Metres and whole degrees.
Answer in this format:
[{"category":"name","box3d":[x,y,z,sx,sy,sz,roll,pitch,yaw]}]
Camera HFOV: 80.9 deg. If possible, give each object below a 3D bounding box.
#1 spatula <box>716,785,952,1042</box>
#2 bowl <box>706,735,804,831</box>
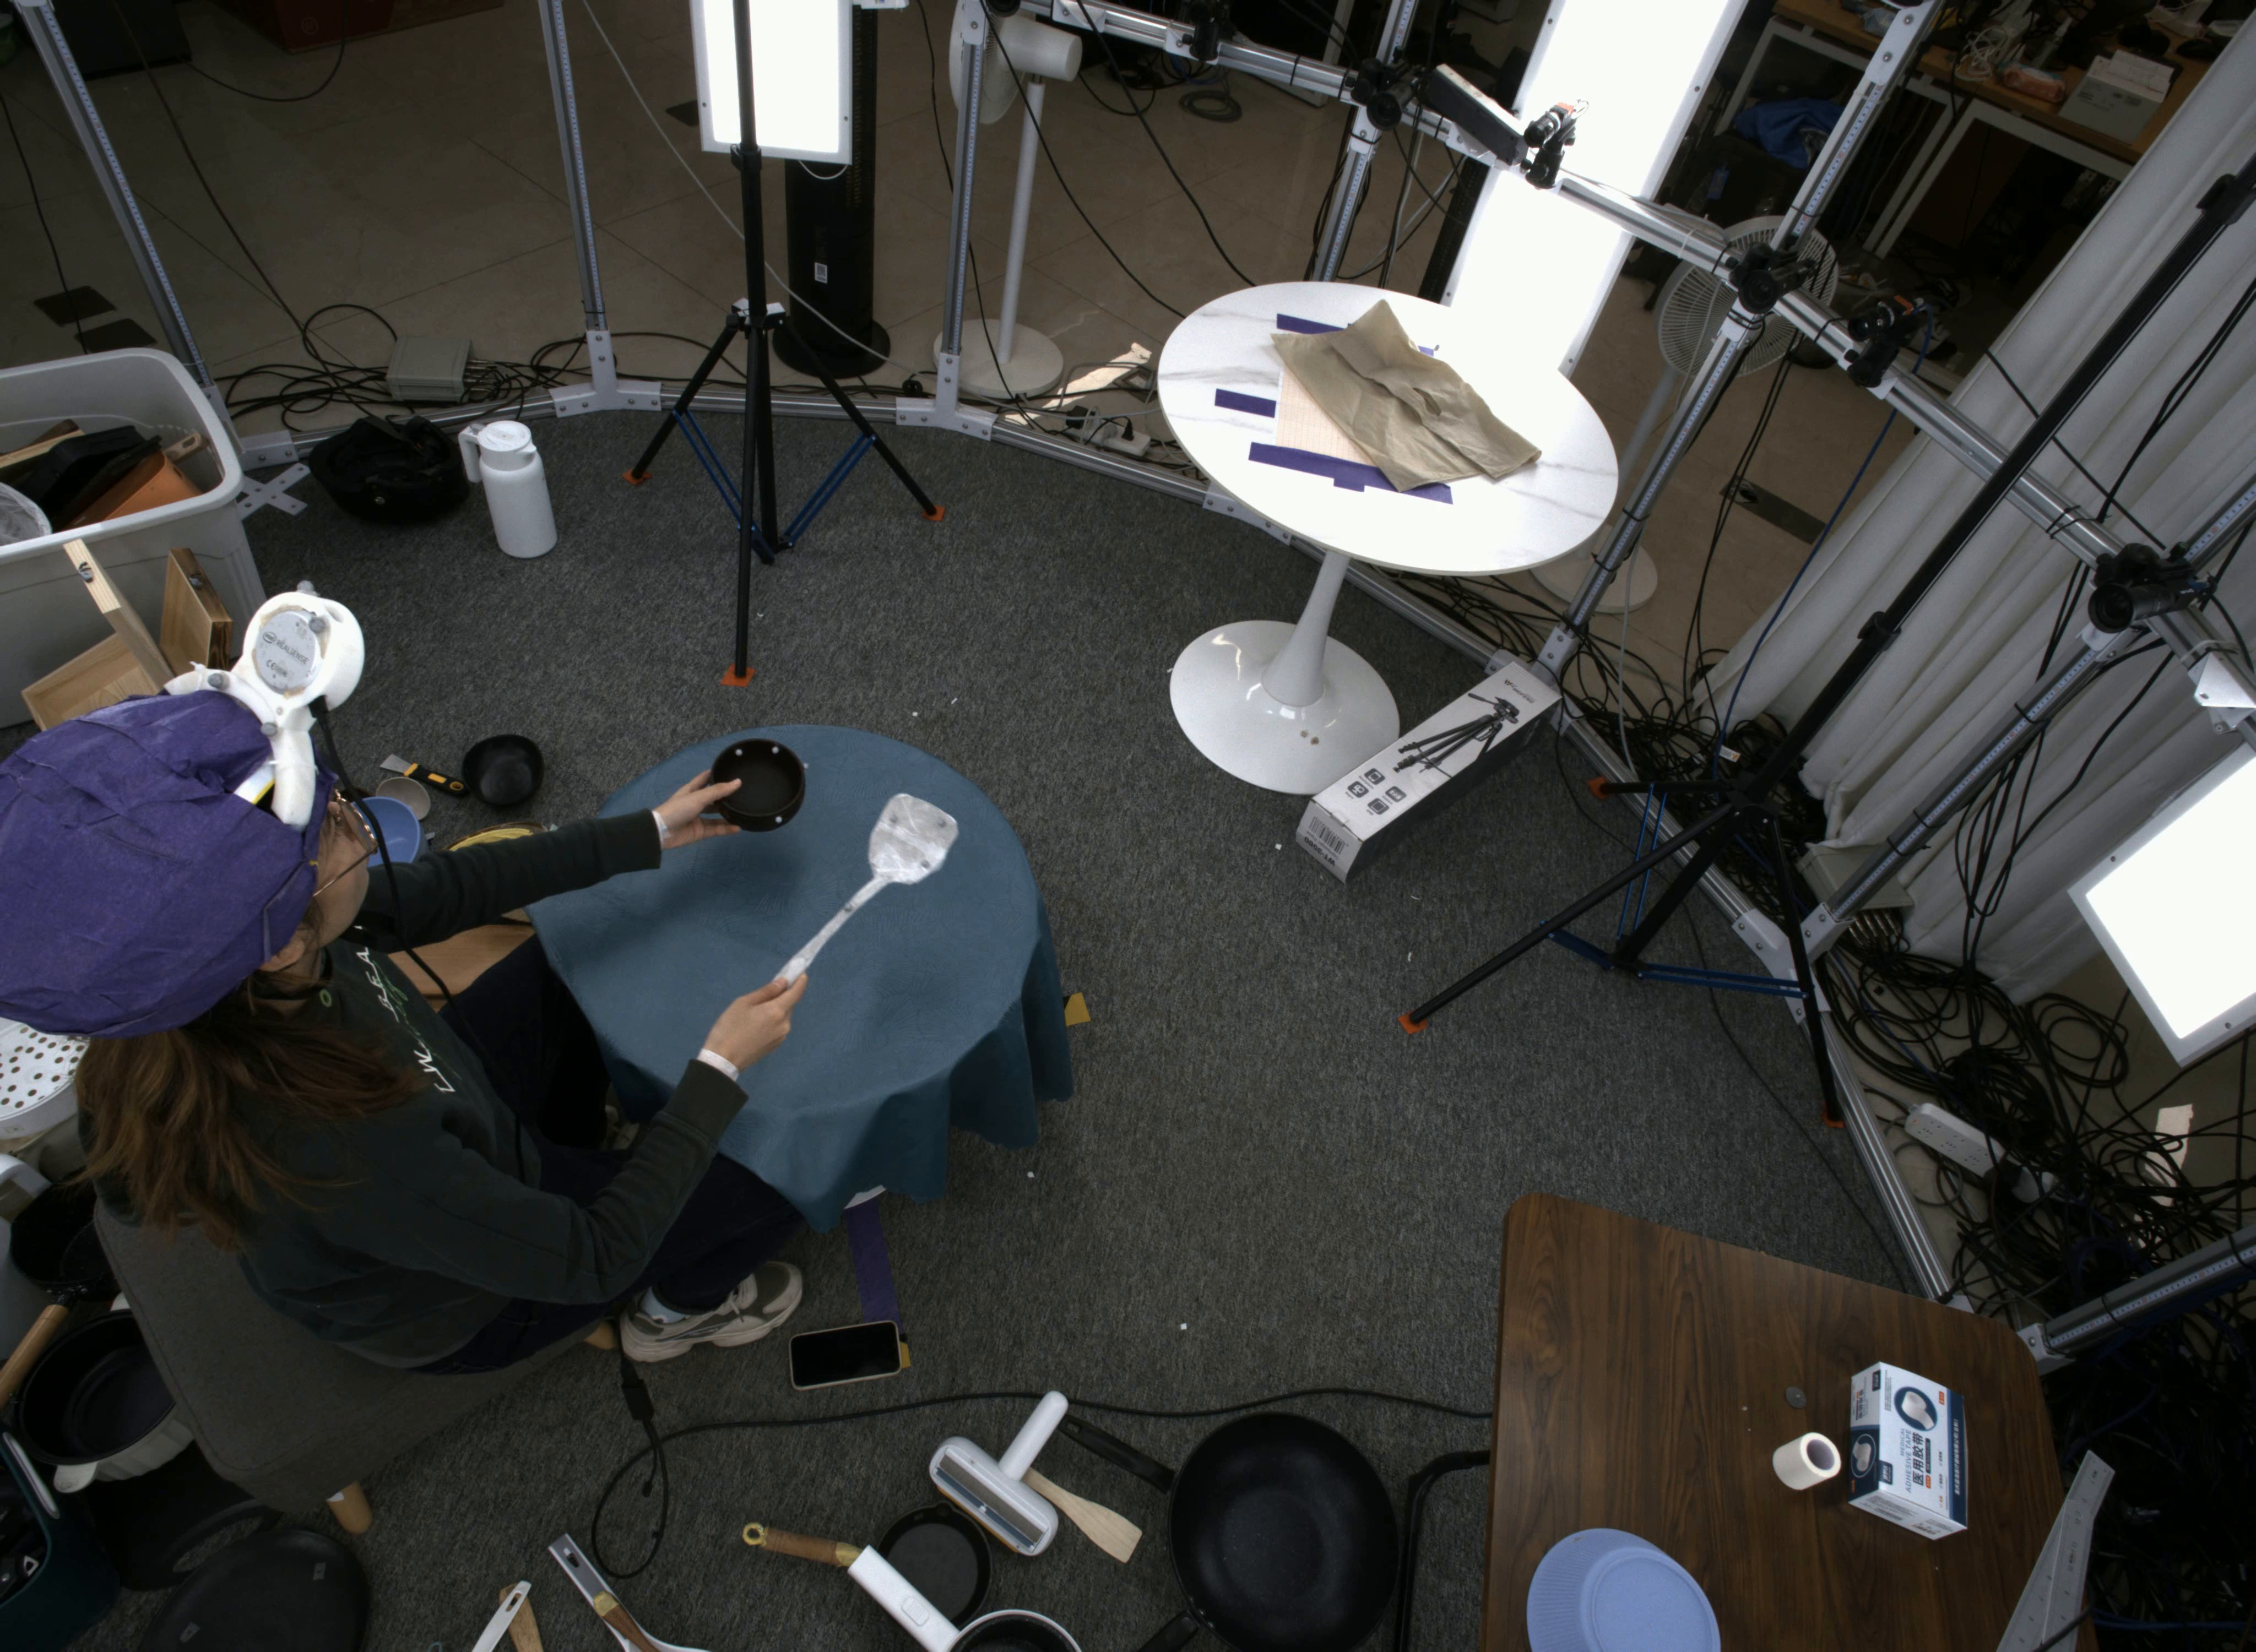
[{"category":"spatula","box3d":[-0.331,0.096,1.444,0.096,0.046,0.364,29,57,14]},{"category":"bowl","box3d":[-0.465,-0.047,1.615,0.118,0.071,0.116,7,59,-11]}]
